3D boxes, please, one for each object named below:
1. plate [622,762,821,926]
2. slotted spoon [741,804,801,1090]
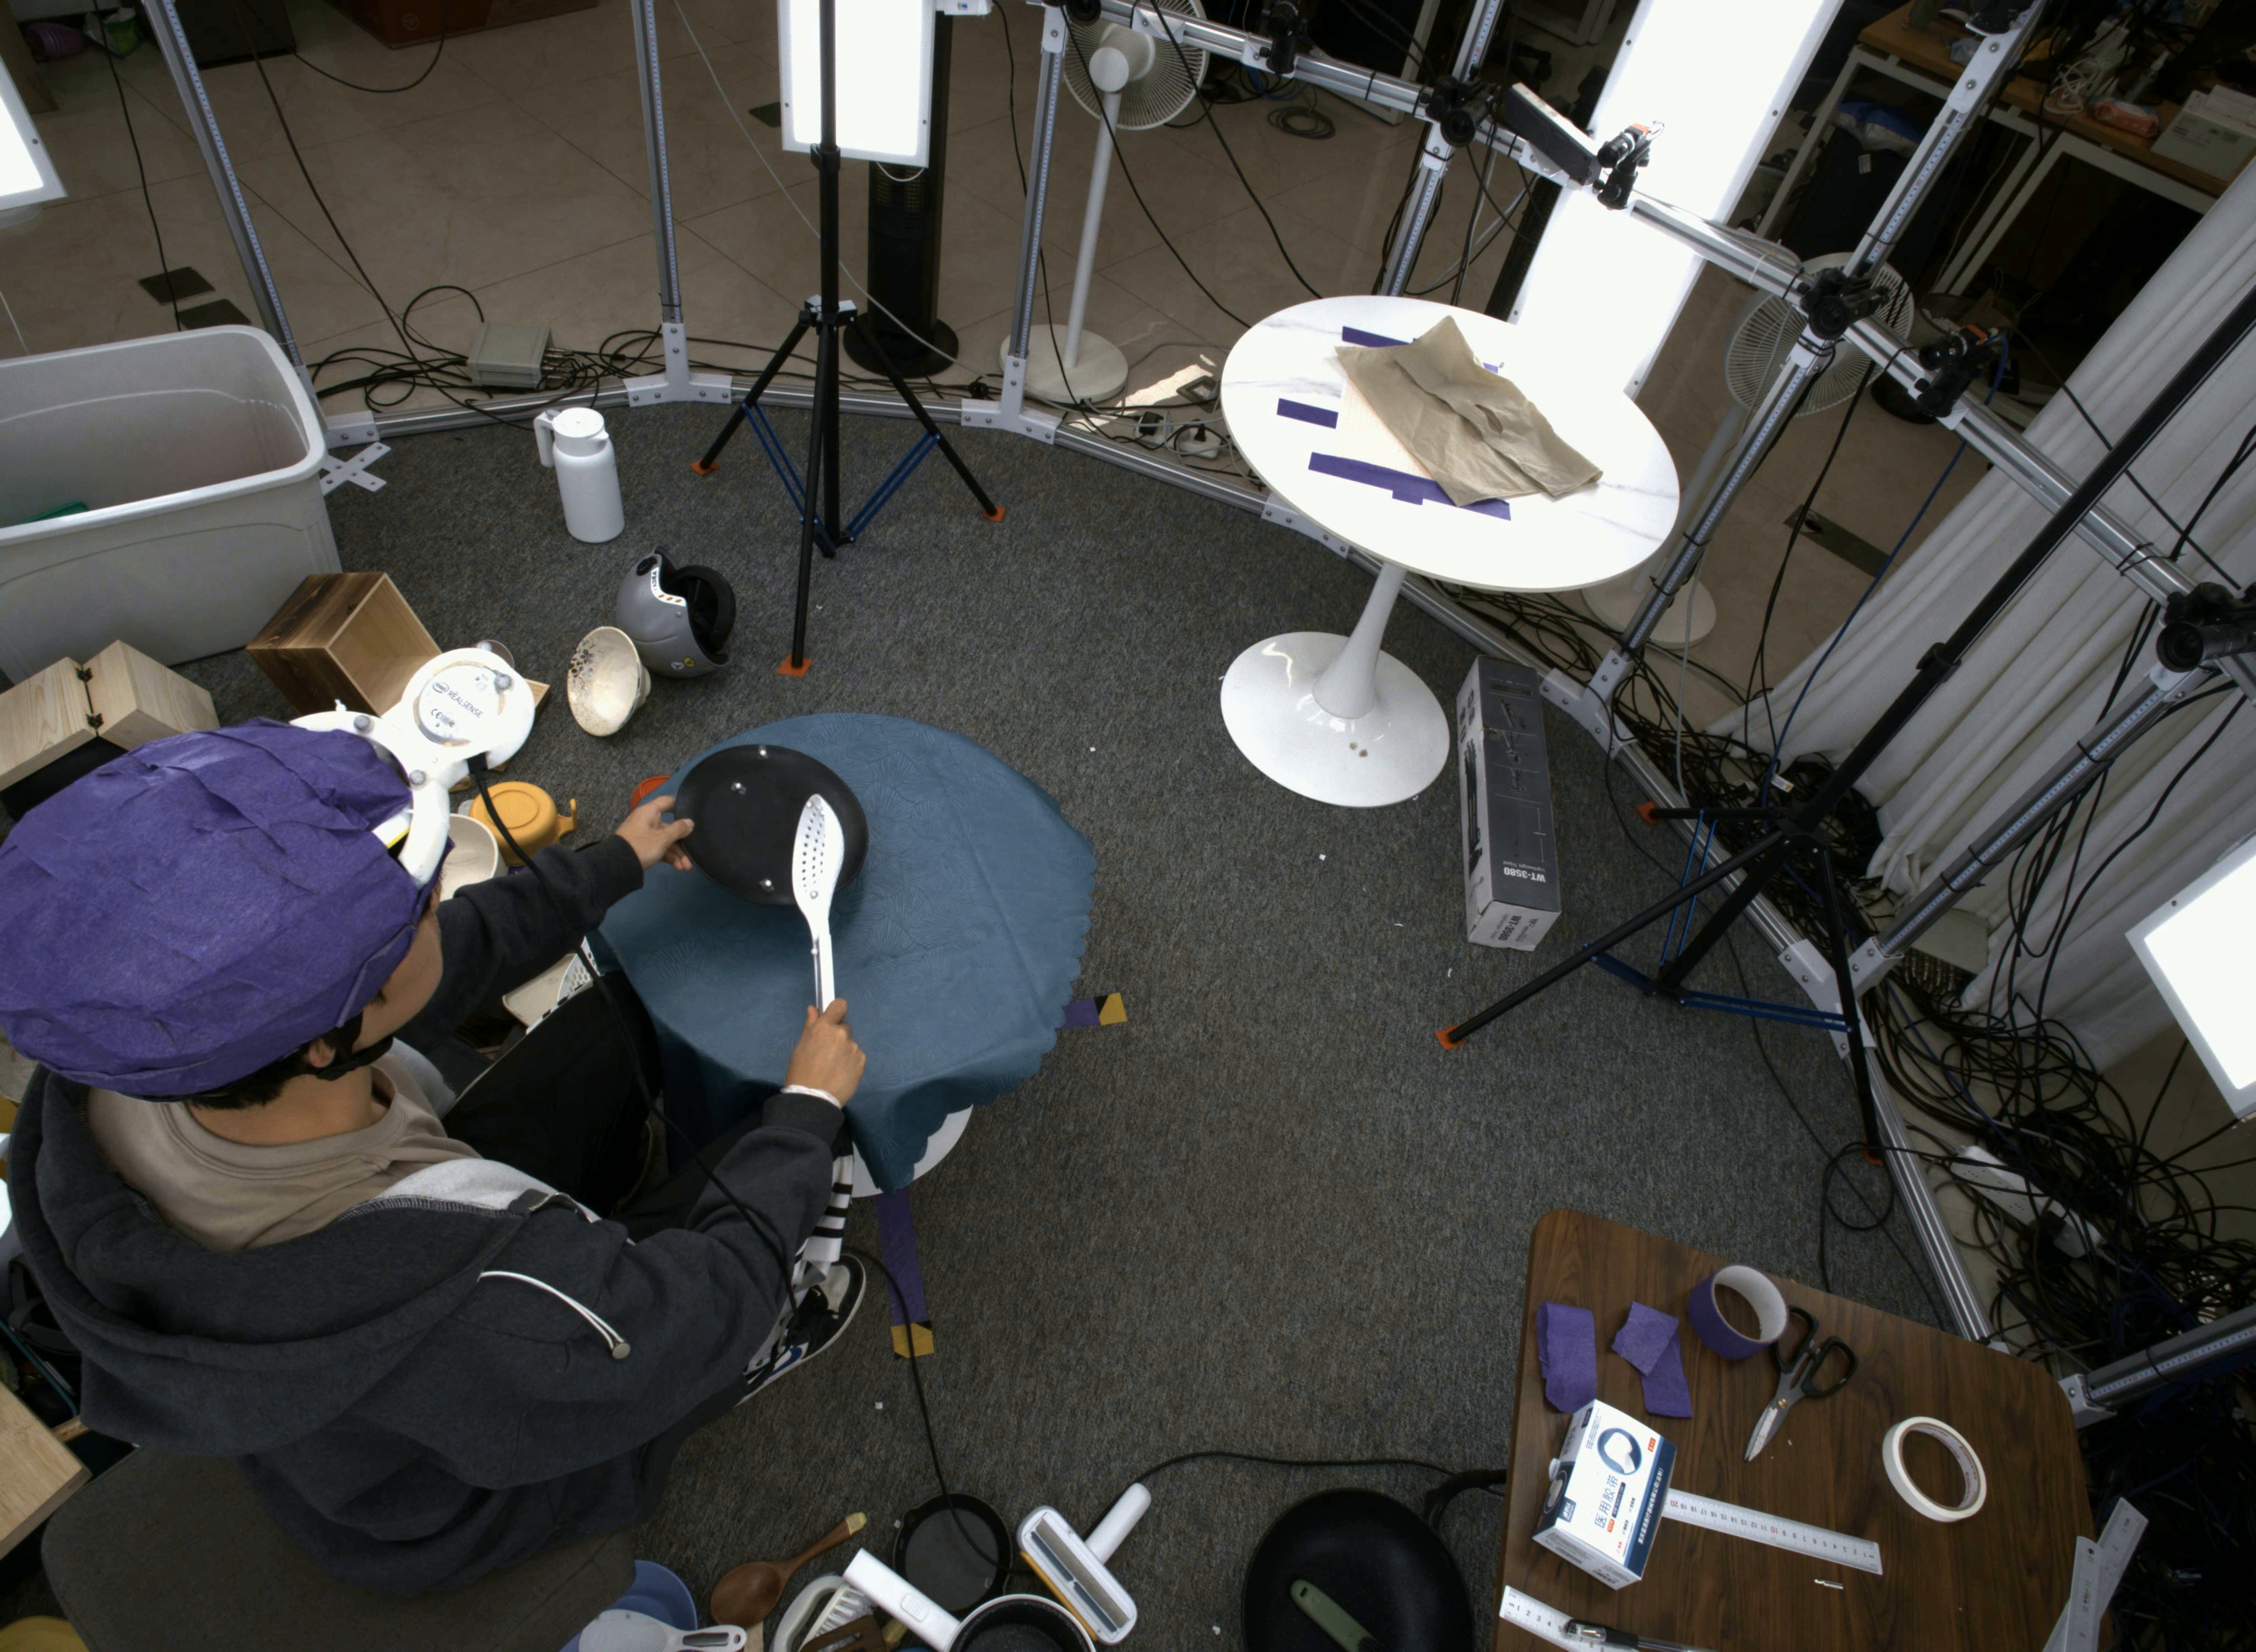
[{"bbox_3d":[-0.501,0.022,1.590,0.247,0.023,0.240,19,47,-20],"label":"plate"},{"bbox_3d":[-0.402,0.131,1.470,0.046,0.136,0.342,9,52,-29],"label":"slotted spoon"}]
